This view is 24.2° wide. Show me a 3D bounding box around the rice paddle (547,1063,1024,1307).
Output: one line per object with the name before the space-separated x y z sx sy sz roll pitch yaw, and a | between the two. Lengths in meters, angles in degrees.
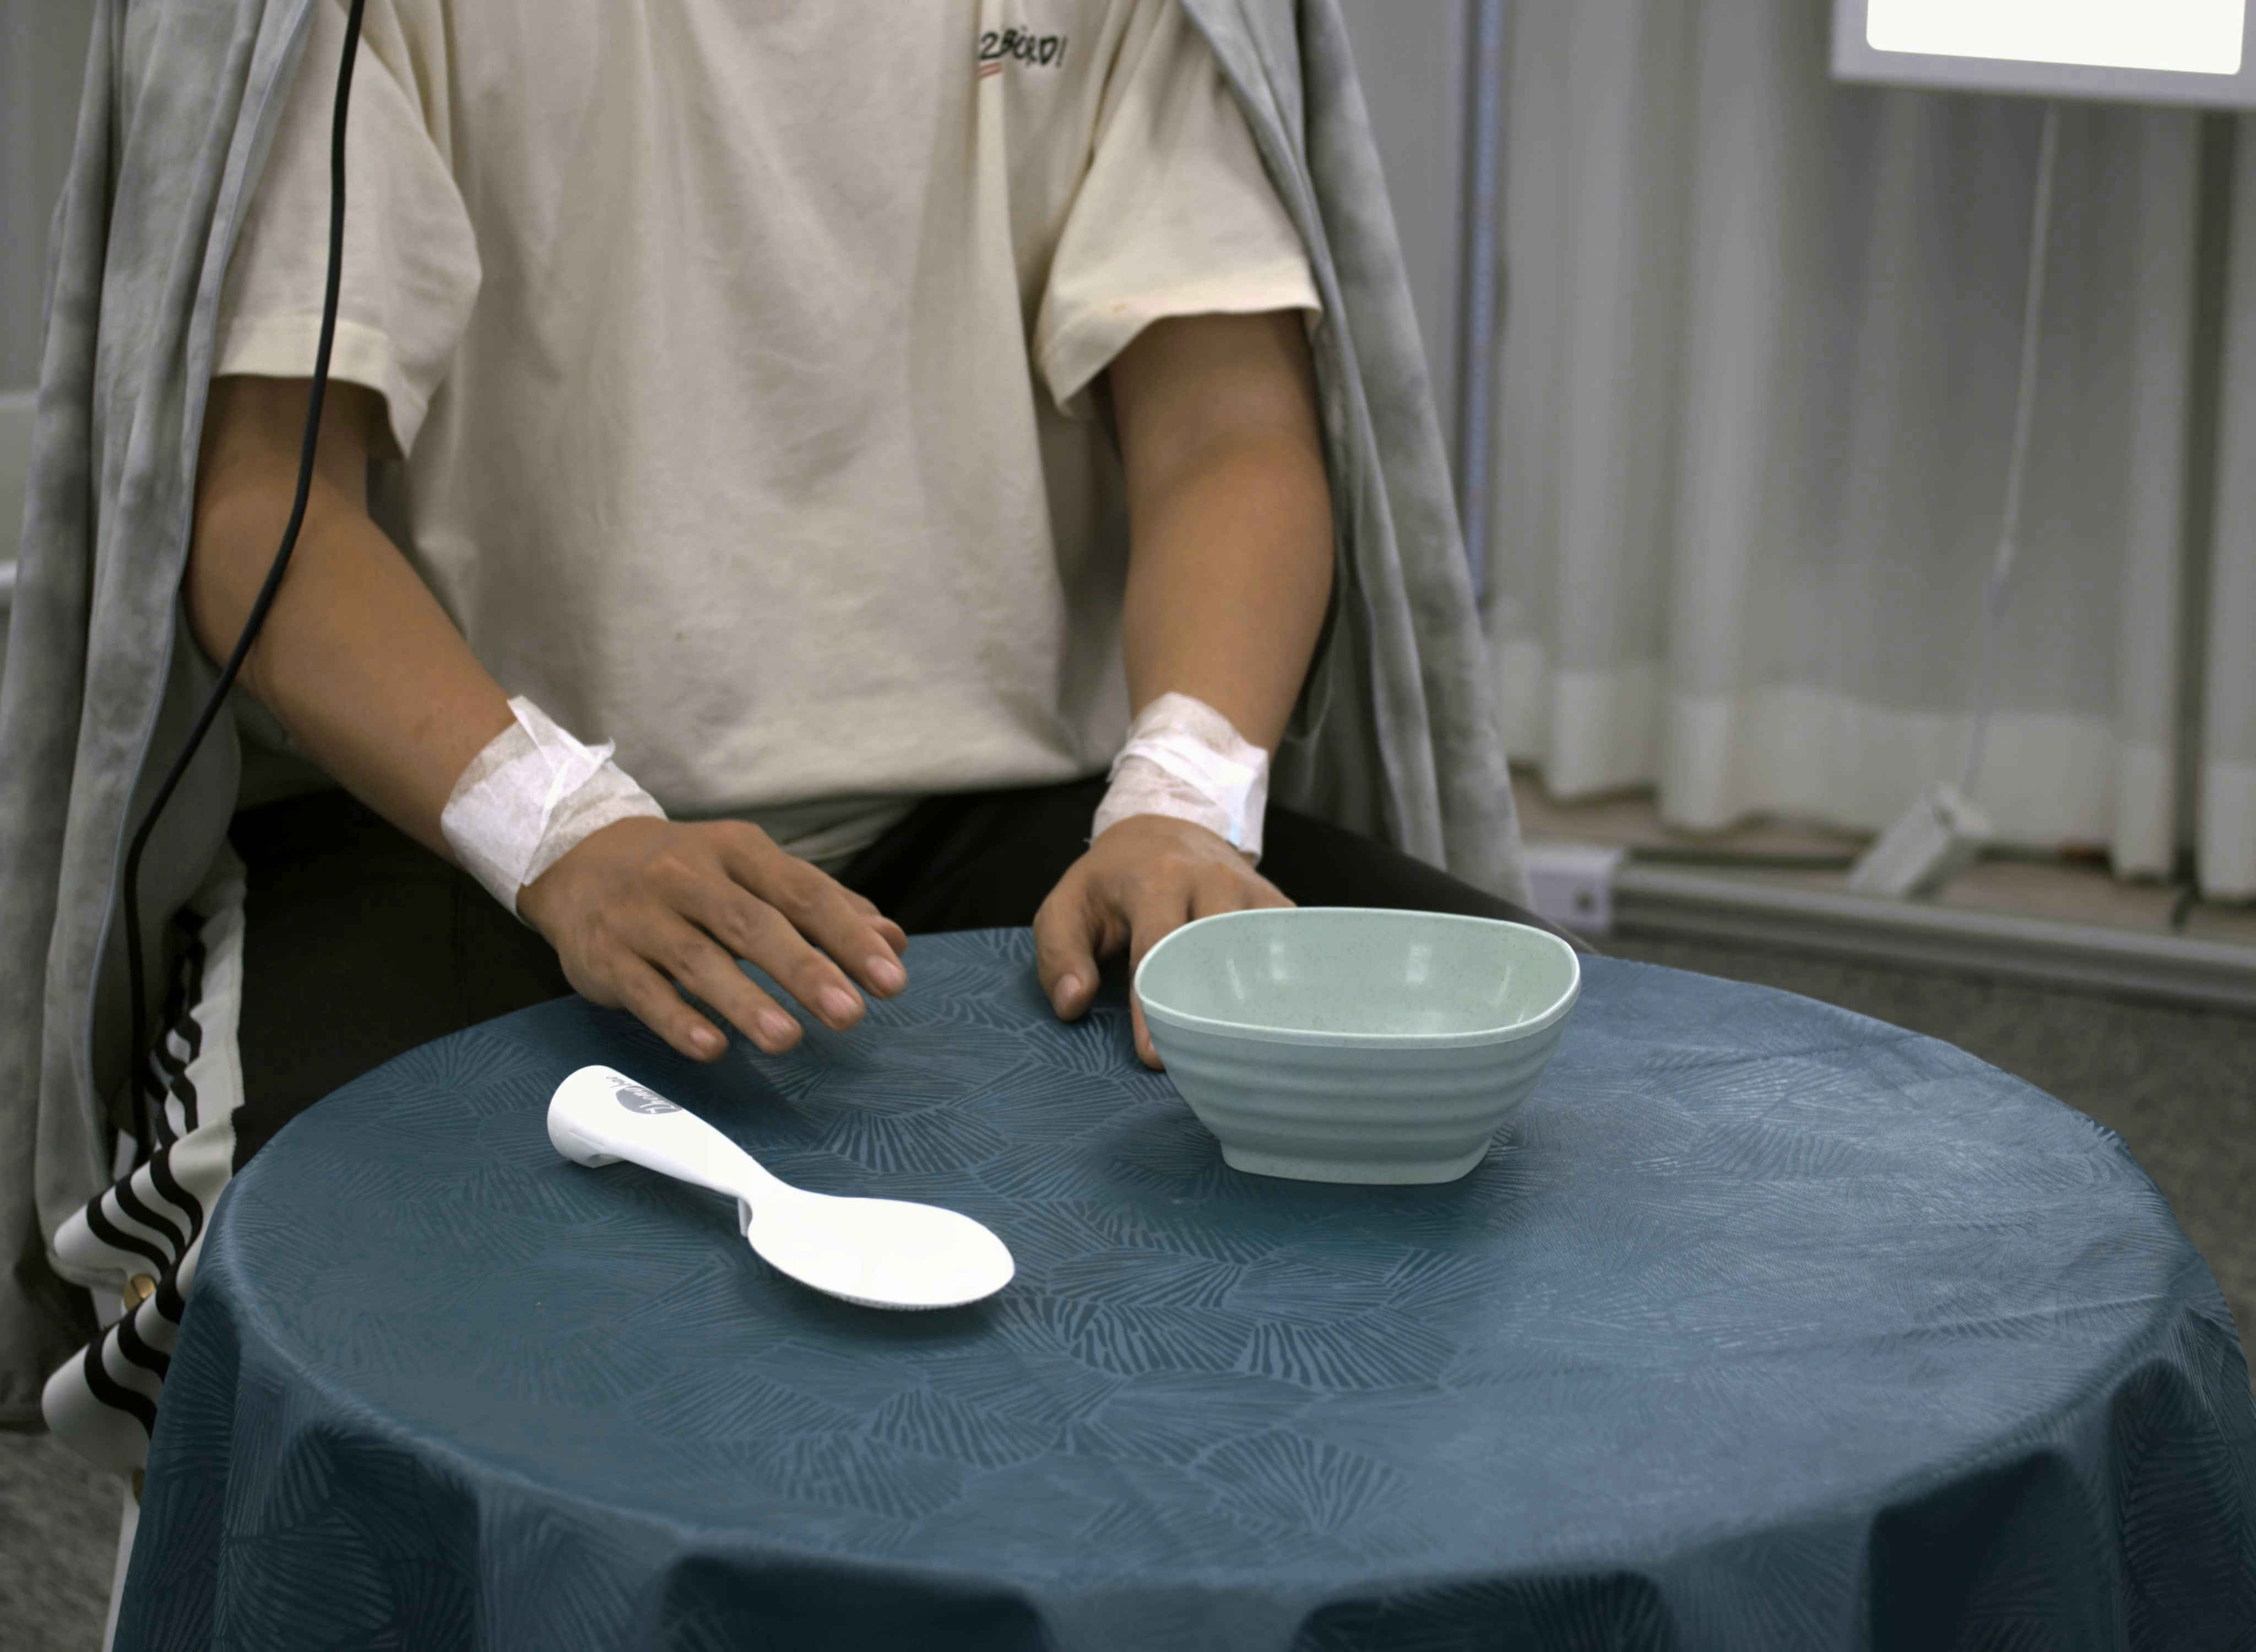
rice paddle | -0.105 0.109 1.575 0.069 0.029 0.202 -14 21 -37

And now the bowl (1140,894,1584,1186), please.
bowl | 0.075 0.071 1.665 0.151 0.059 0.150 -2 18 1
